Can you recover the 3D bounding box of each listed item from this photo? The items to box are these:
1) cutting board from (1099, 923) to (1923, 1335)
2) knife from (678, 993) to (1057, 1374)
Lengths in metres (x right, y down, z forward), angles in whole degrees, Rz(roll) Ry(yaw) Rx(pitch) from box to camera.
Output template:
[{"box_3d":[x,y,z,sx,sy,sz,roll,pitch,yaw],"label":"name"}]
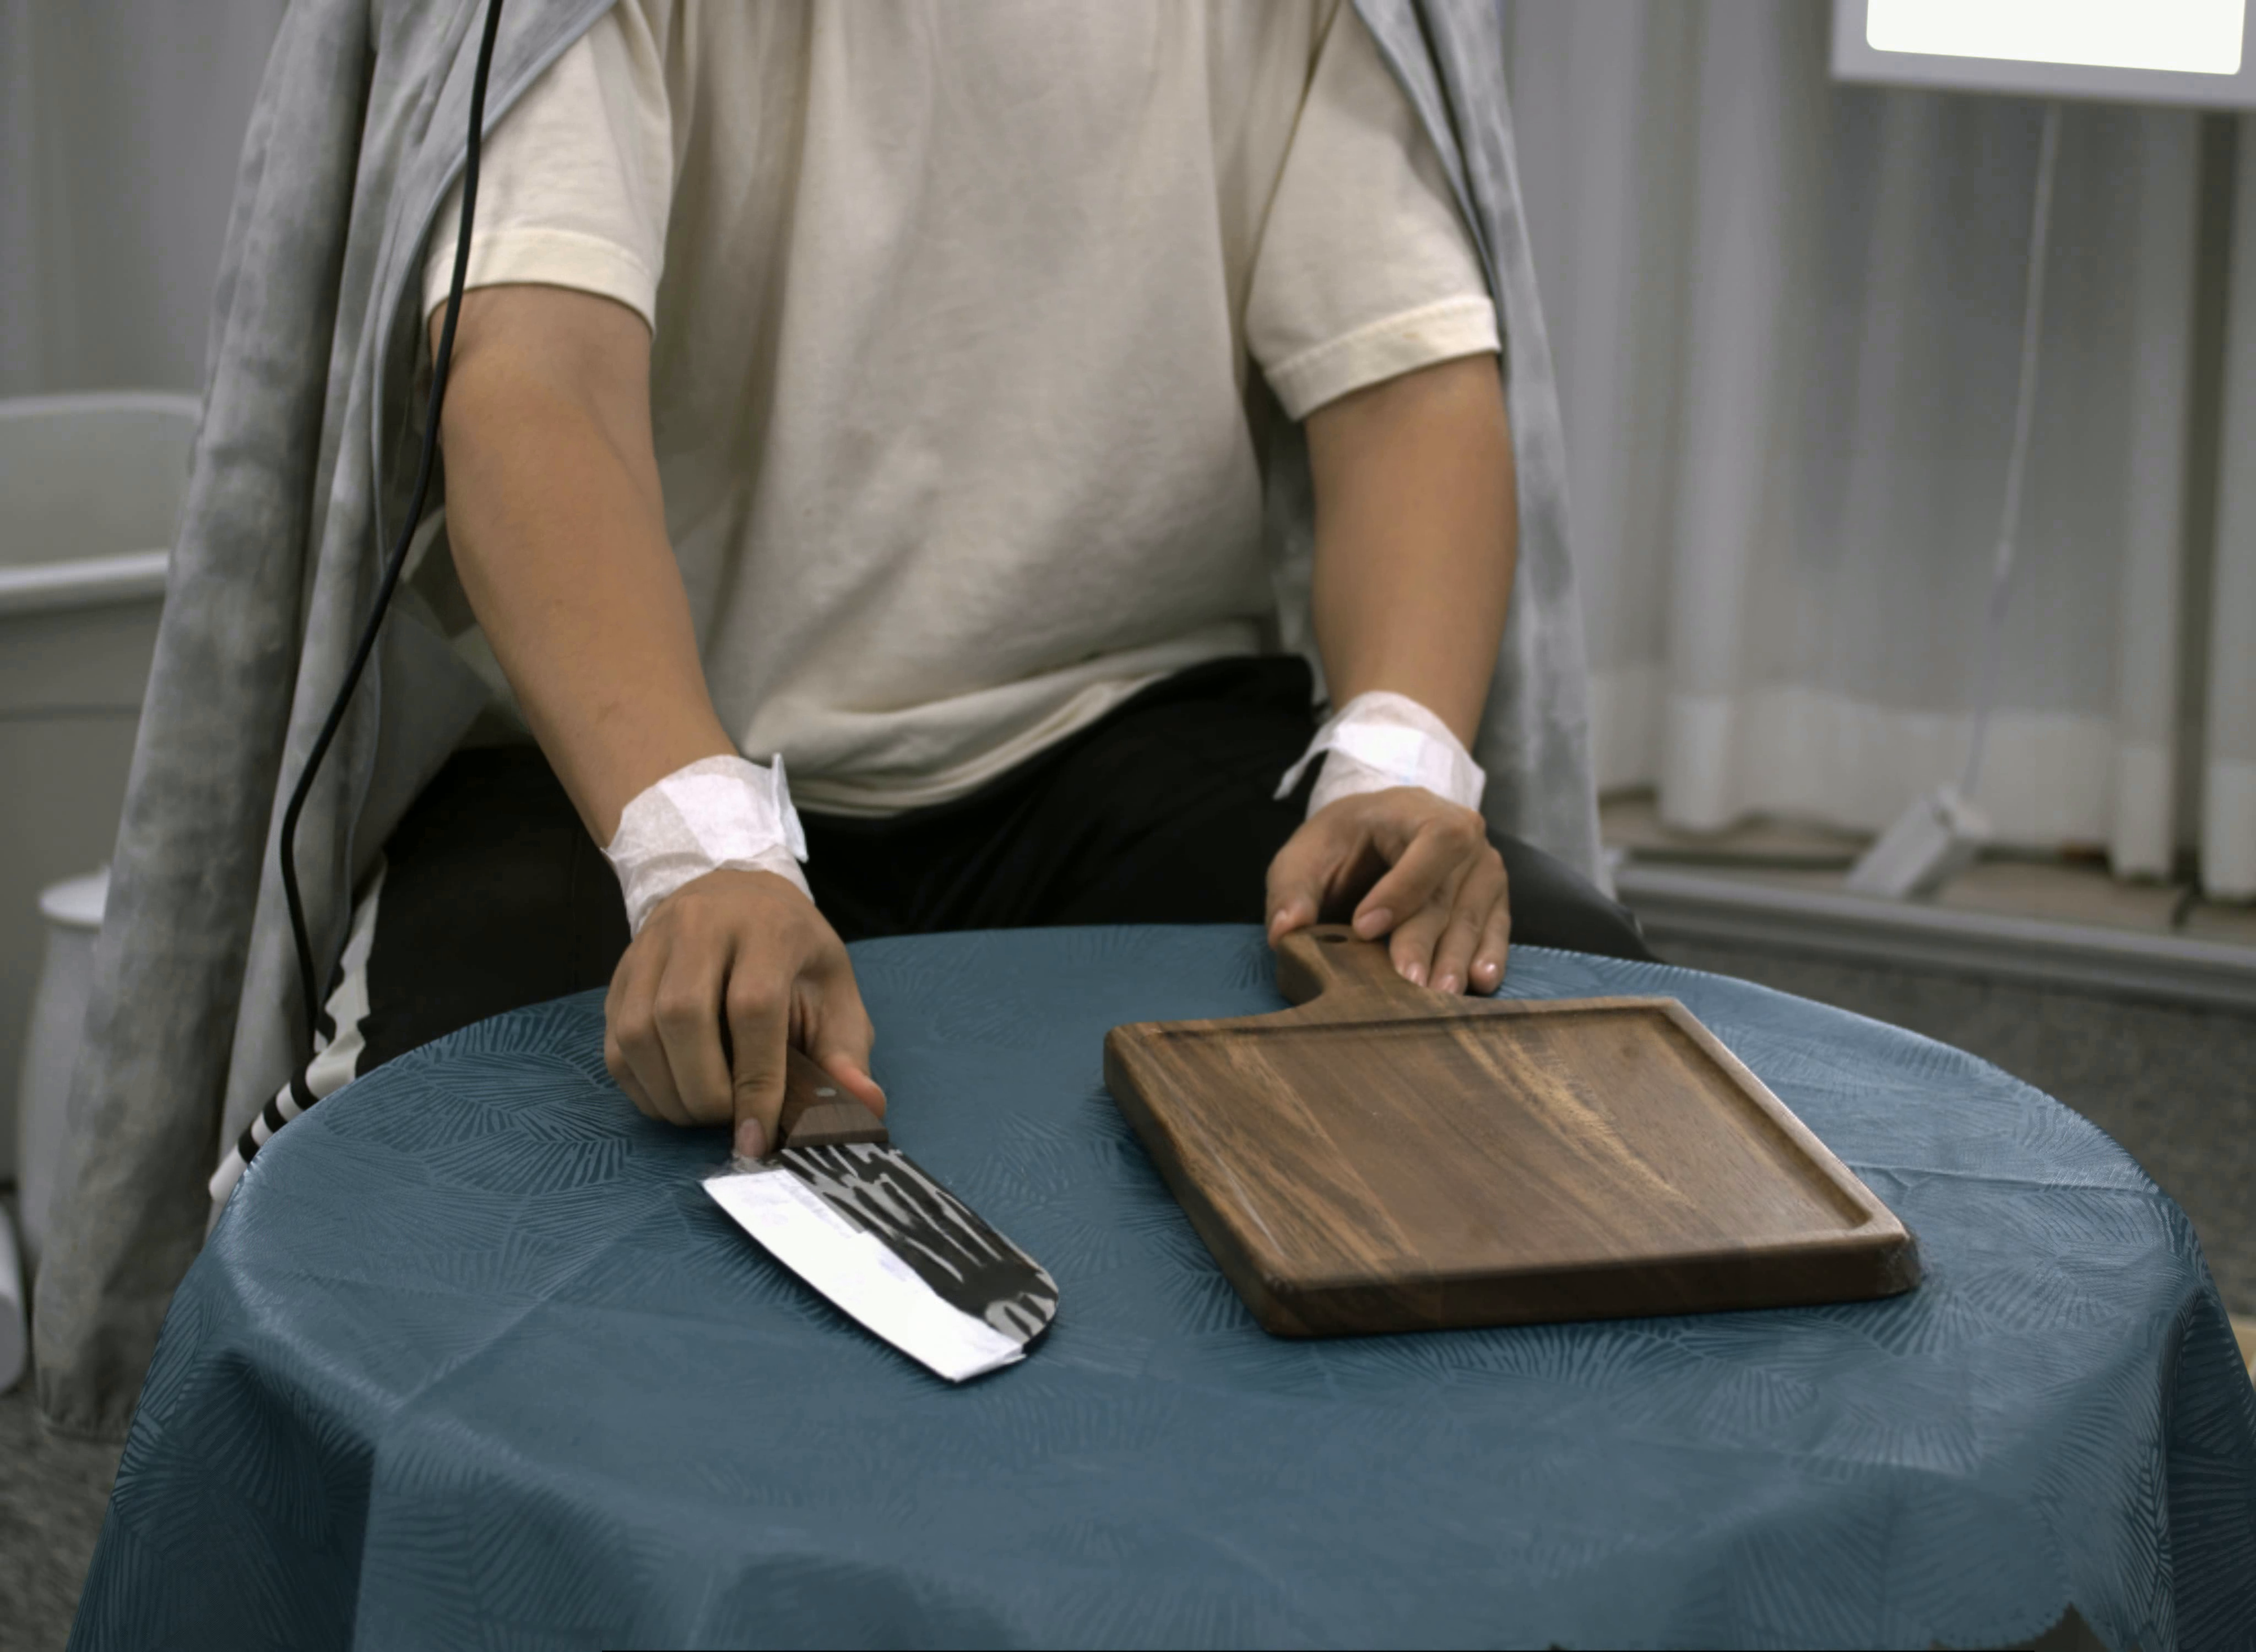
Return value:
[{"box_3d":[0.102,0.088,1.680,0.201,0.023,0.349,-3,15,-12],"label":"cutting board"},{"box_3d":[-0.092,0.108,1.599,0.068,0.024,0.296,-6,19,-24],"label":"knife"}]
